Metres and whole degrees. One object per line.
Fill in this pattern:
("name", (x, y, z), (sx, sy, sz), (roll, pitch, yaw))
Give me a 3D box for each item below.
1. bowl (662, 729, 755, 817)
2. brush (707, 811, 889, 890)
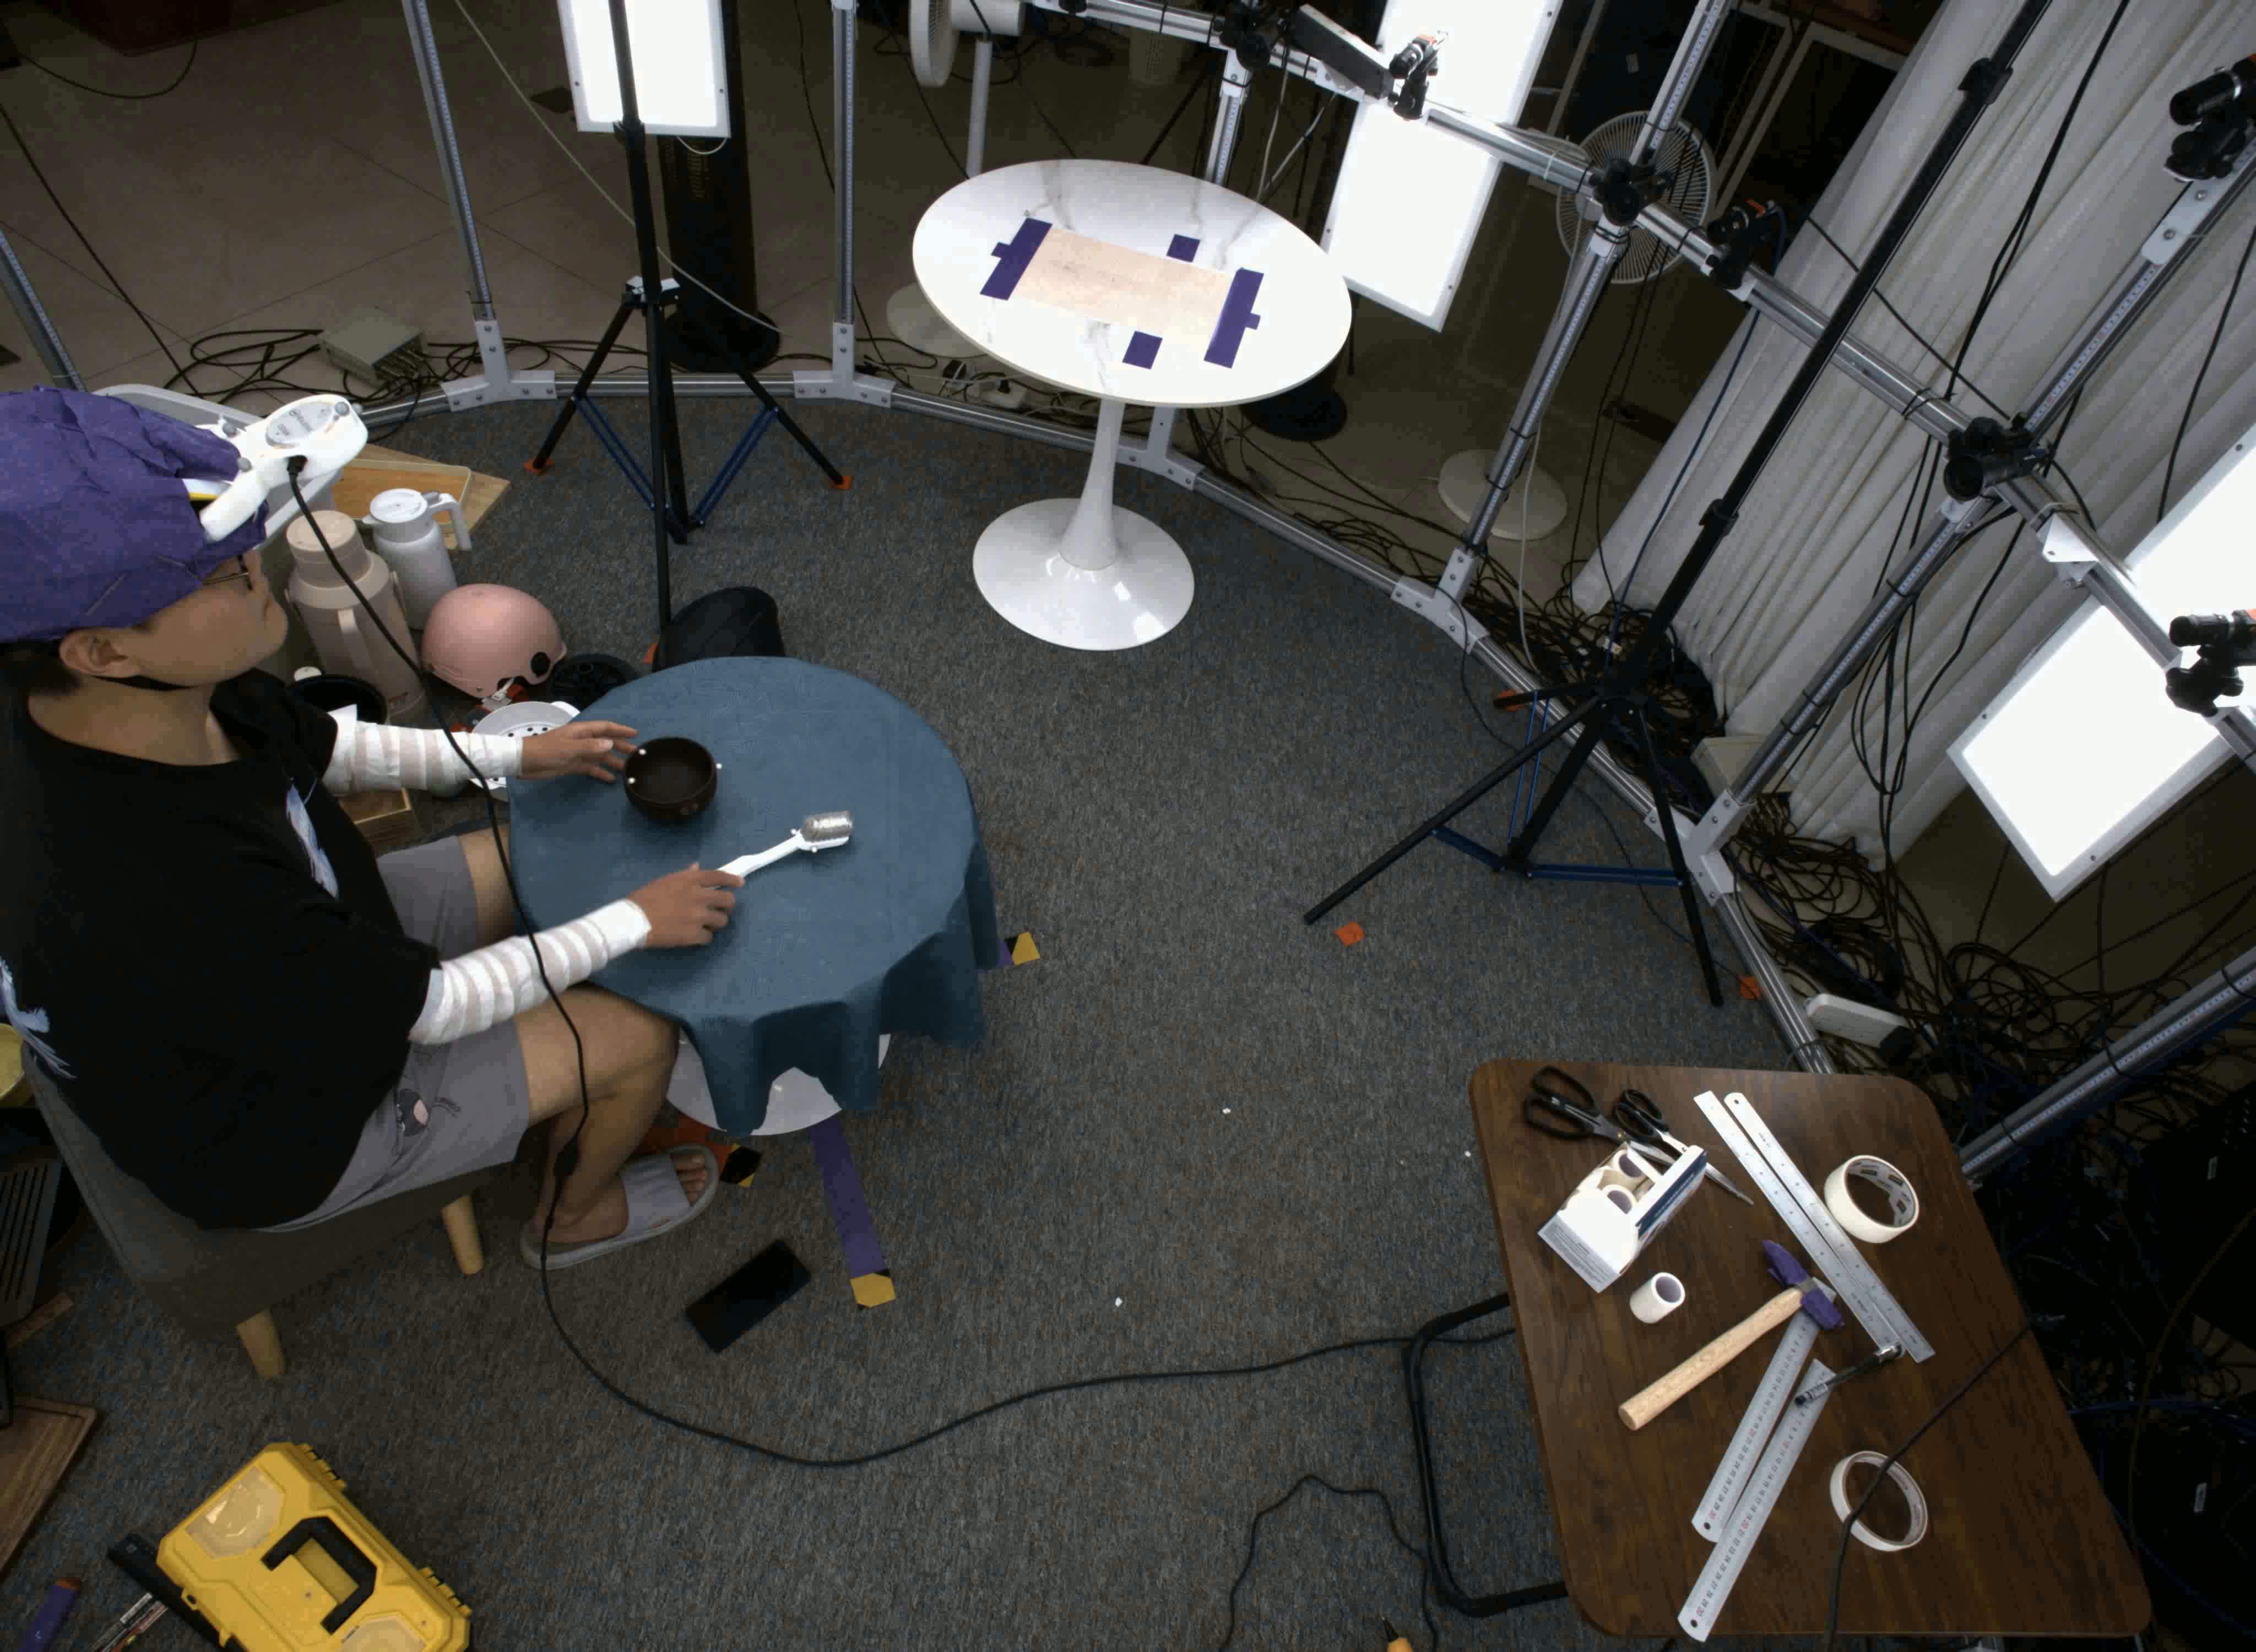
("bowl", (-0.552, -0.063, 1.702), (0.117, 0.071, 0.116), (6, 54, -7))
("brush", (-0.427, 0.027, 1.681), (0.245, 0.051, 0.033), (-17, 57, -25))
